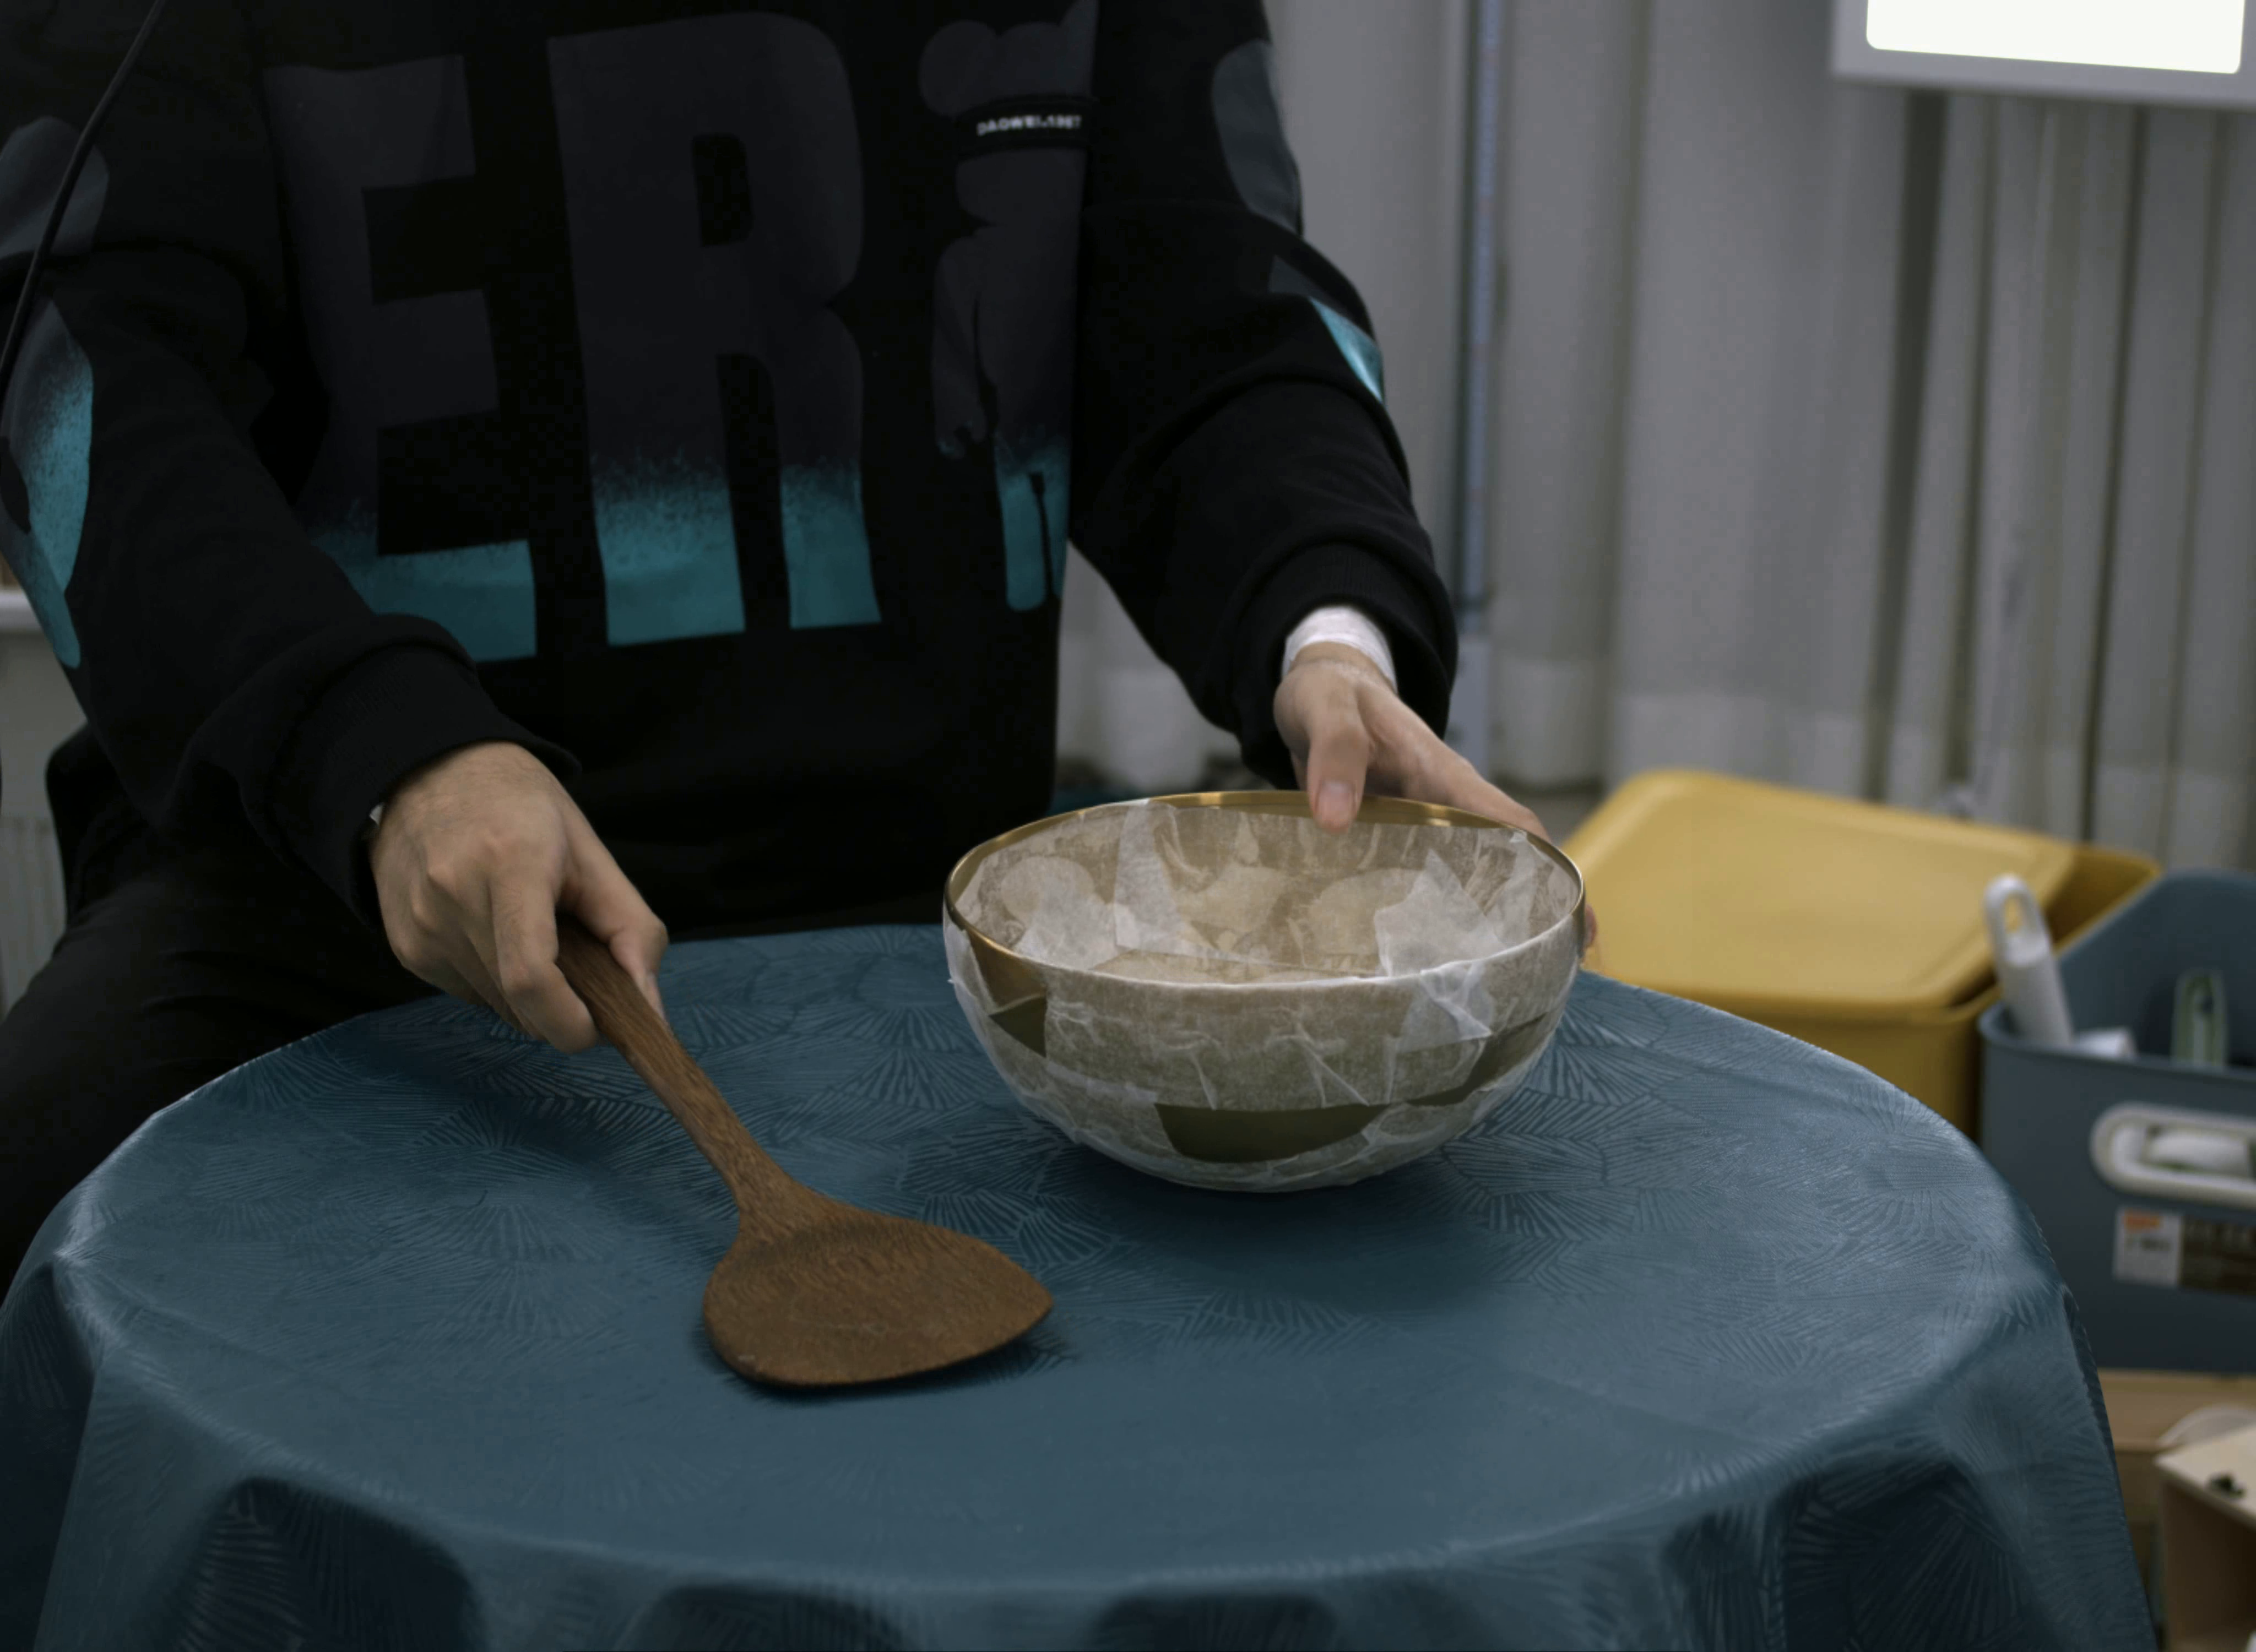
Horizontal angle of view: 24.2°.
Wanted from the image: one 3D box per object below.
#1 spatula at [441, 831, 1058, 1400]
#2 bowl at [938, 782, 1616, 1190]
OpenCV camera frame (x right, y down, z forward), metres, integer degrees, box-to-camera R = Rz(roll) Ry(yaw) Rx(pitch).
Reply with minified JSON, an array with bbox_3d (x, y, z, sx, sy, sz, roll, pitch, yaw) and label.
[{"bbox_3d":[-0.138,0.079,1.618,0.096,0.016,0.380,-11,30,-24],"label":"spatula"},{"bbox_3d":[0.046,0.058,1.647,0.214,0.095,0.213,-2,17,1],"label":"bowl"}]
